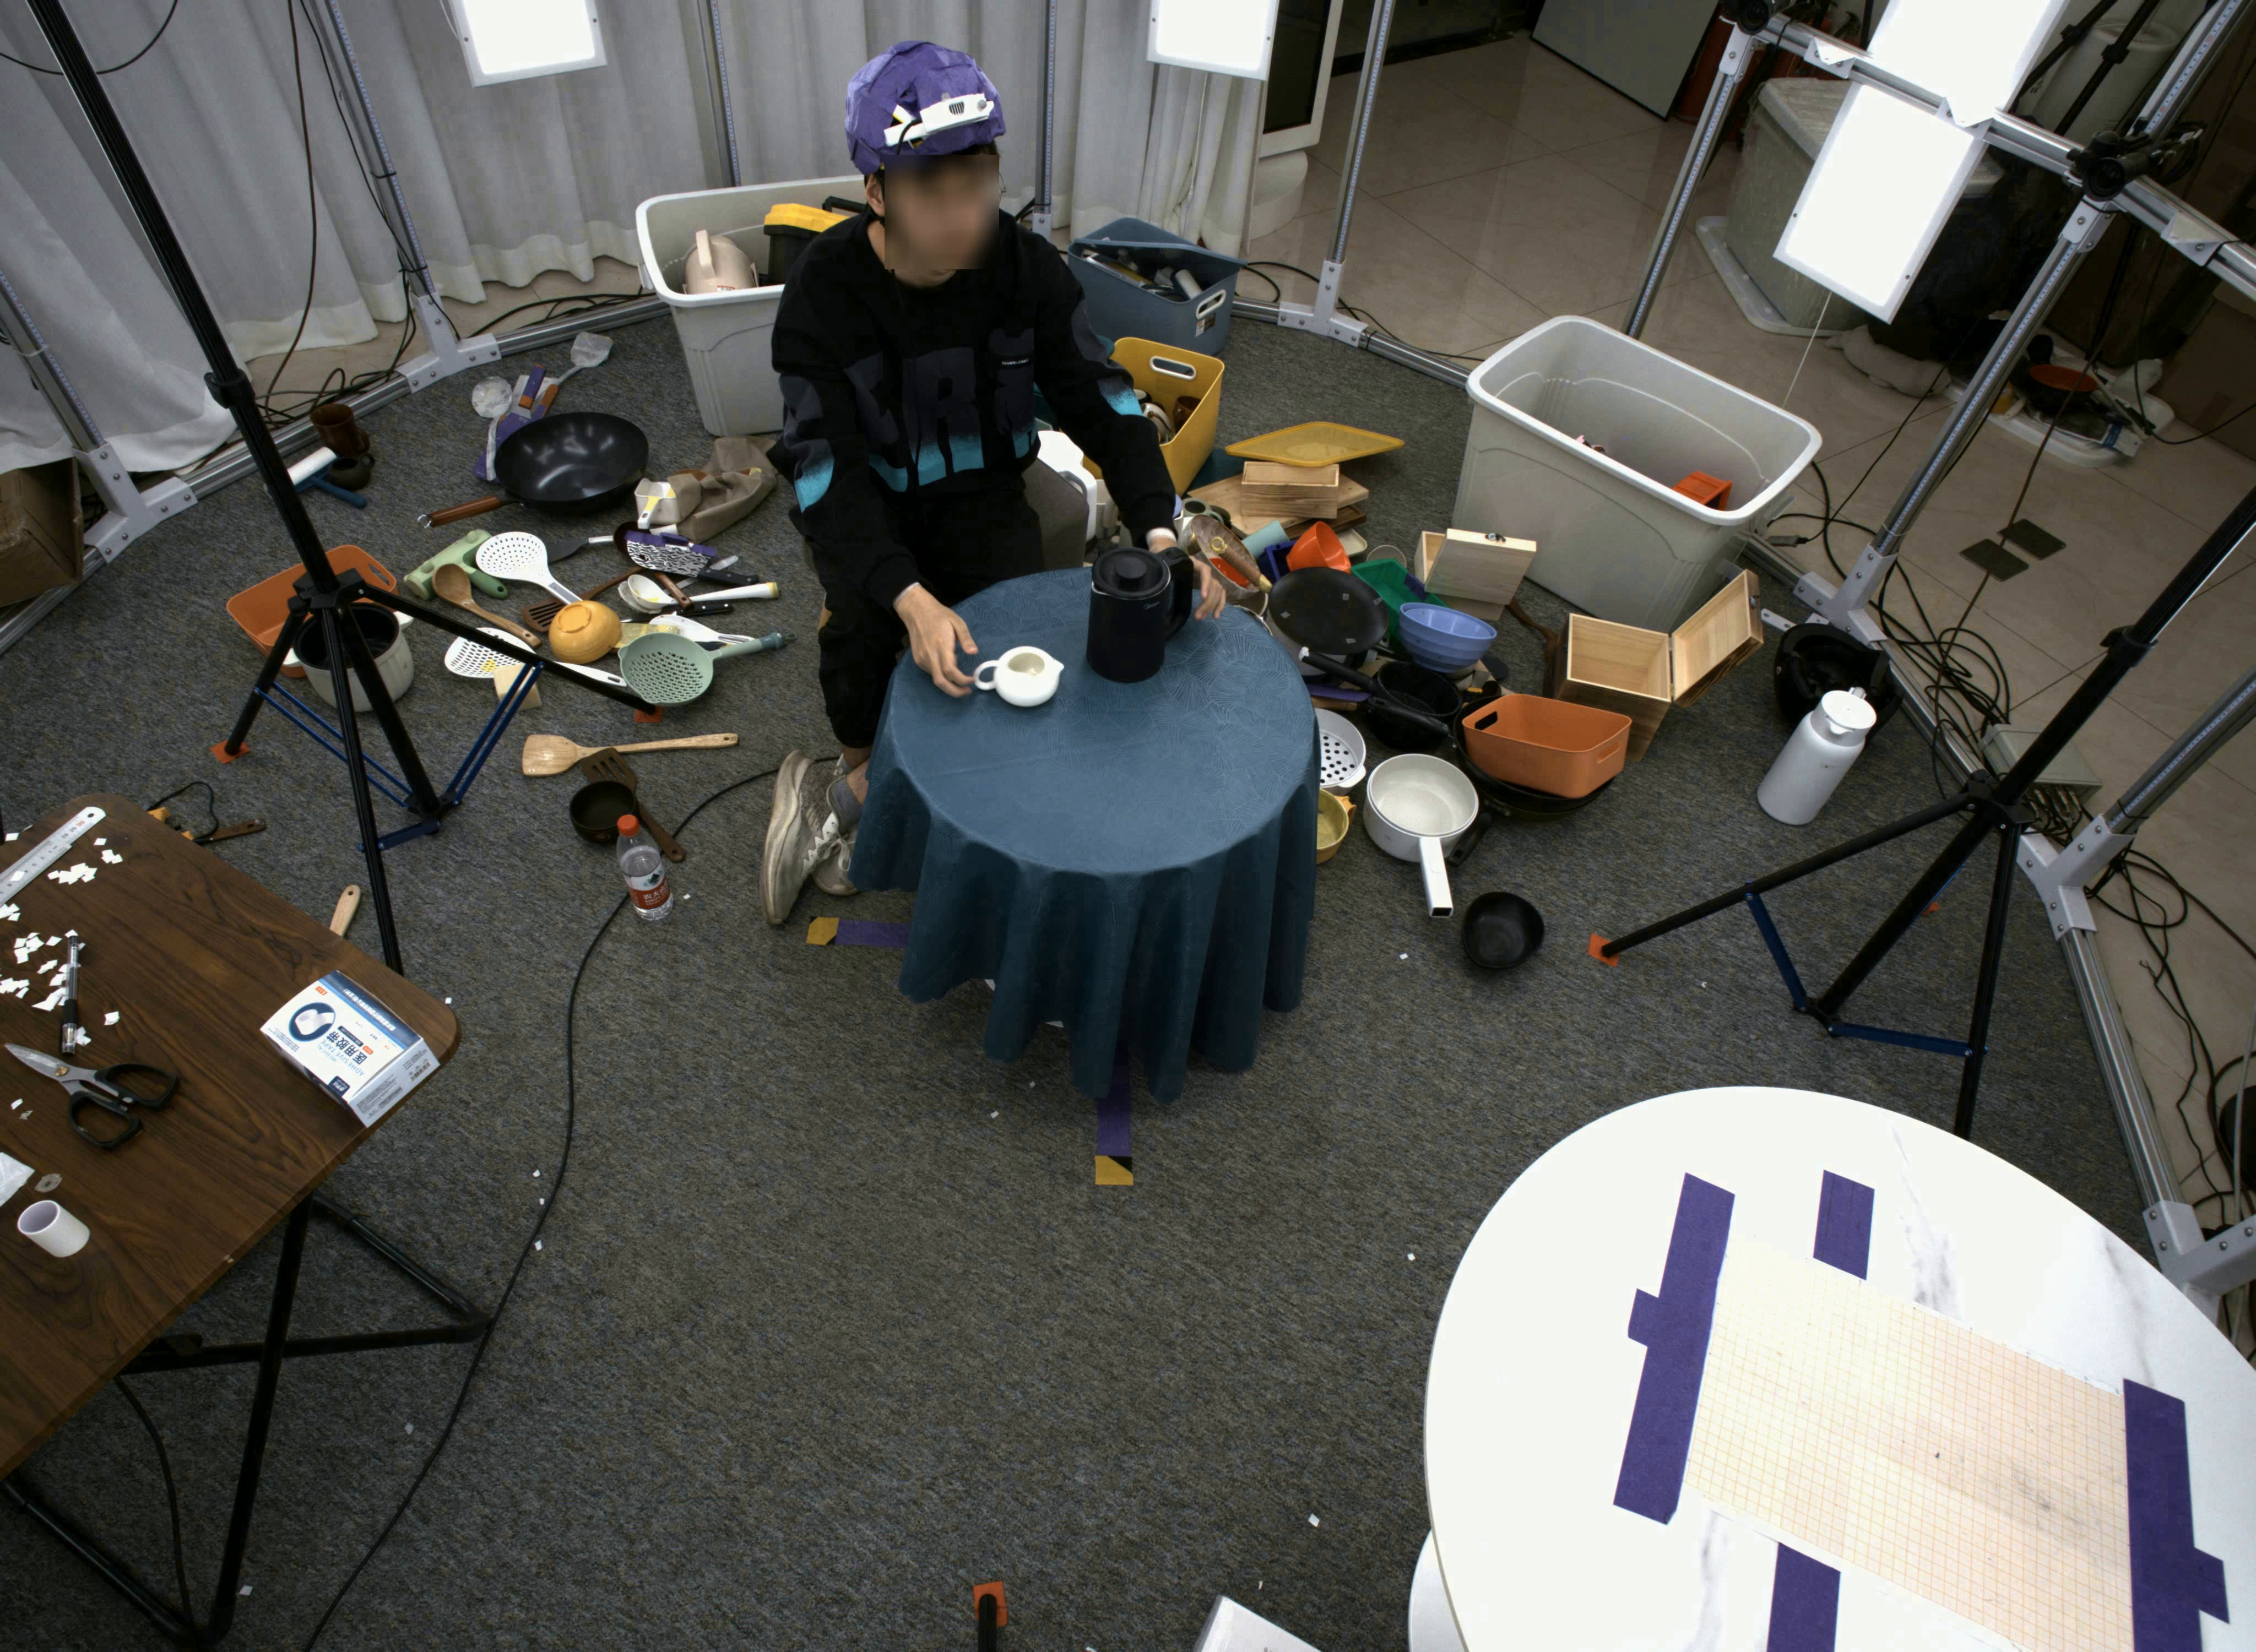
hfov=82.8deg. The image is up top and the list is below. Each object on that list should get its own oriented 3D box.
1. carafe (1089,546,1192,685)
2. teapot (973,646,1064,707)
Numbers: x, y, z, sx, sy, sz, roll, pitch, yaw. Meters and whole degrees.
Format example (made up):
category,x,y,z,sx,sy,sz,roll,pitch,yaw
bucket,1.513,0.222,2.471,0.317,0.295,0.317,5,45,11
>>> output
category,x,y,z,sx,sy,sz,roll,pitch,yaw
carafe,0.018,-0.313,1.830,0.172,0.169,0.117,-31,56,-24
teapot,-0.154,-0.209,1.805,0.127,0.055,0.096,-4,53,-6
